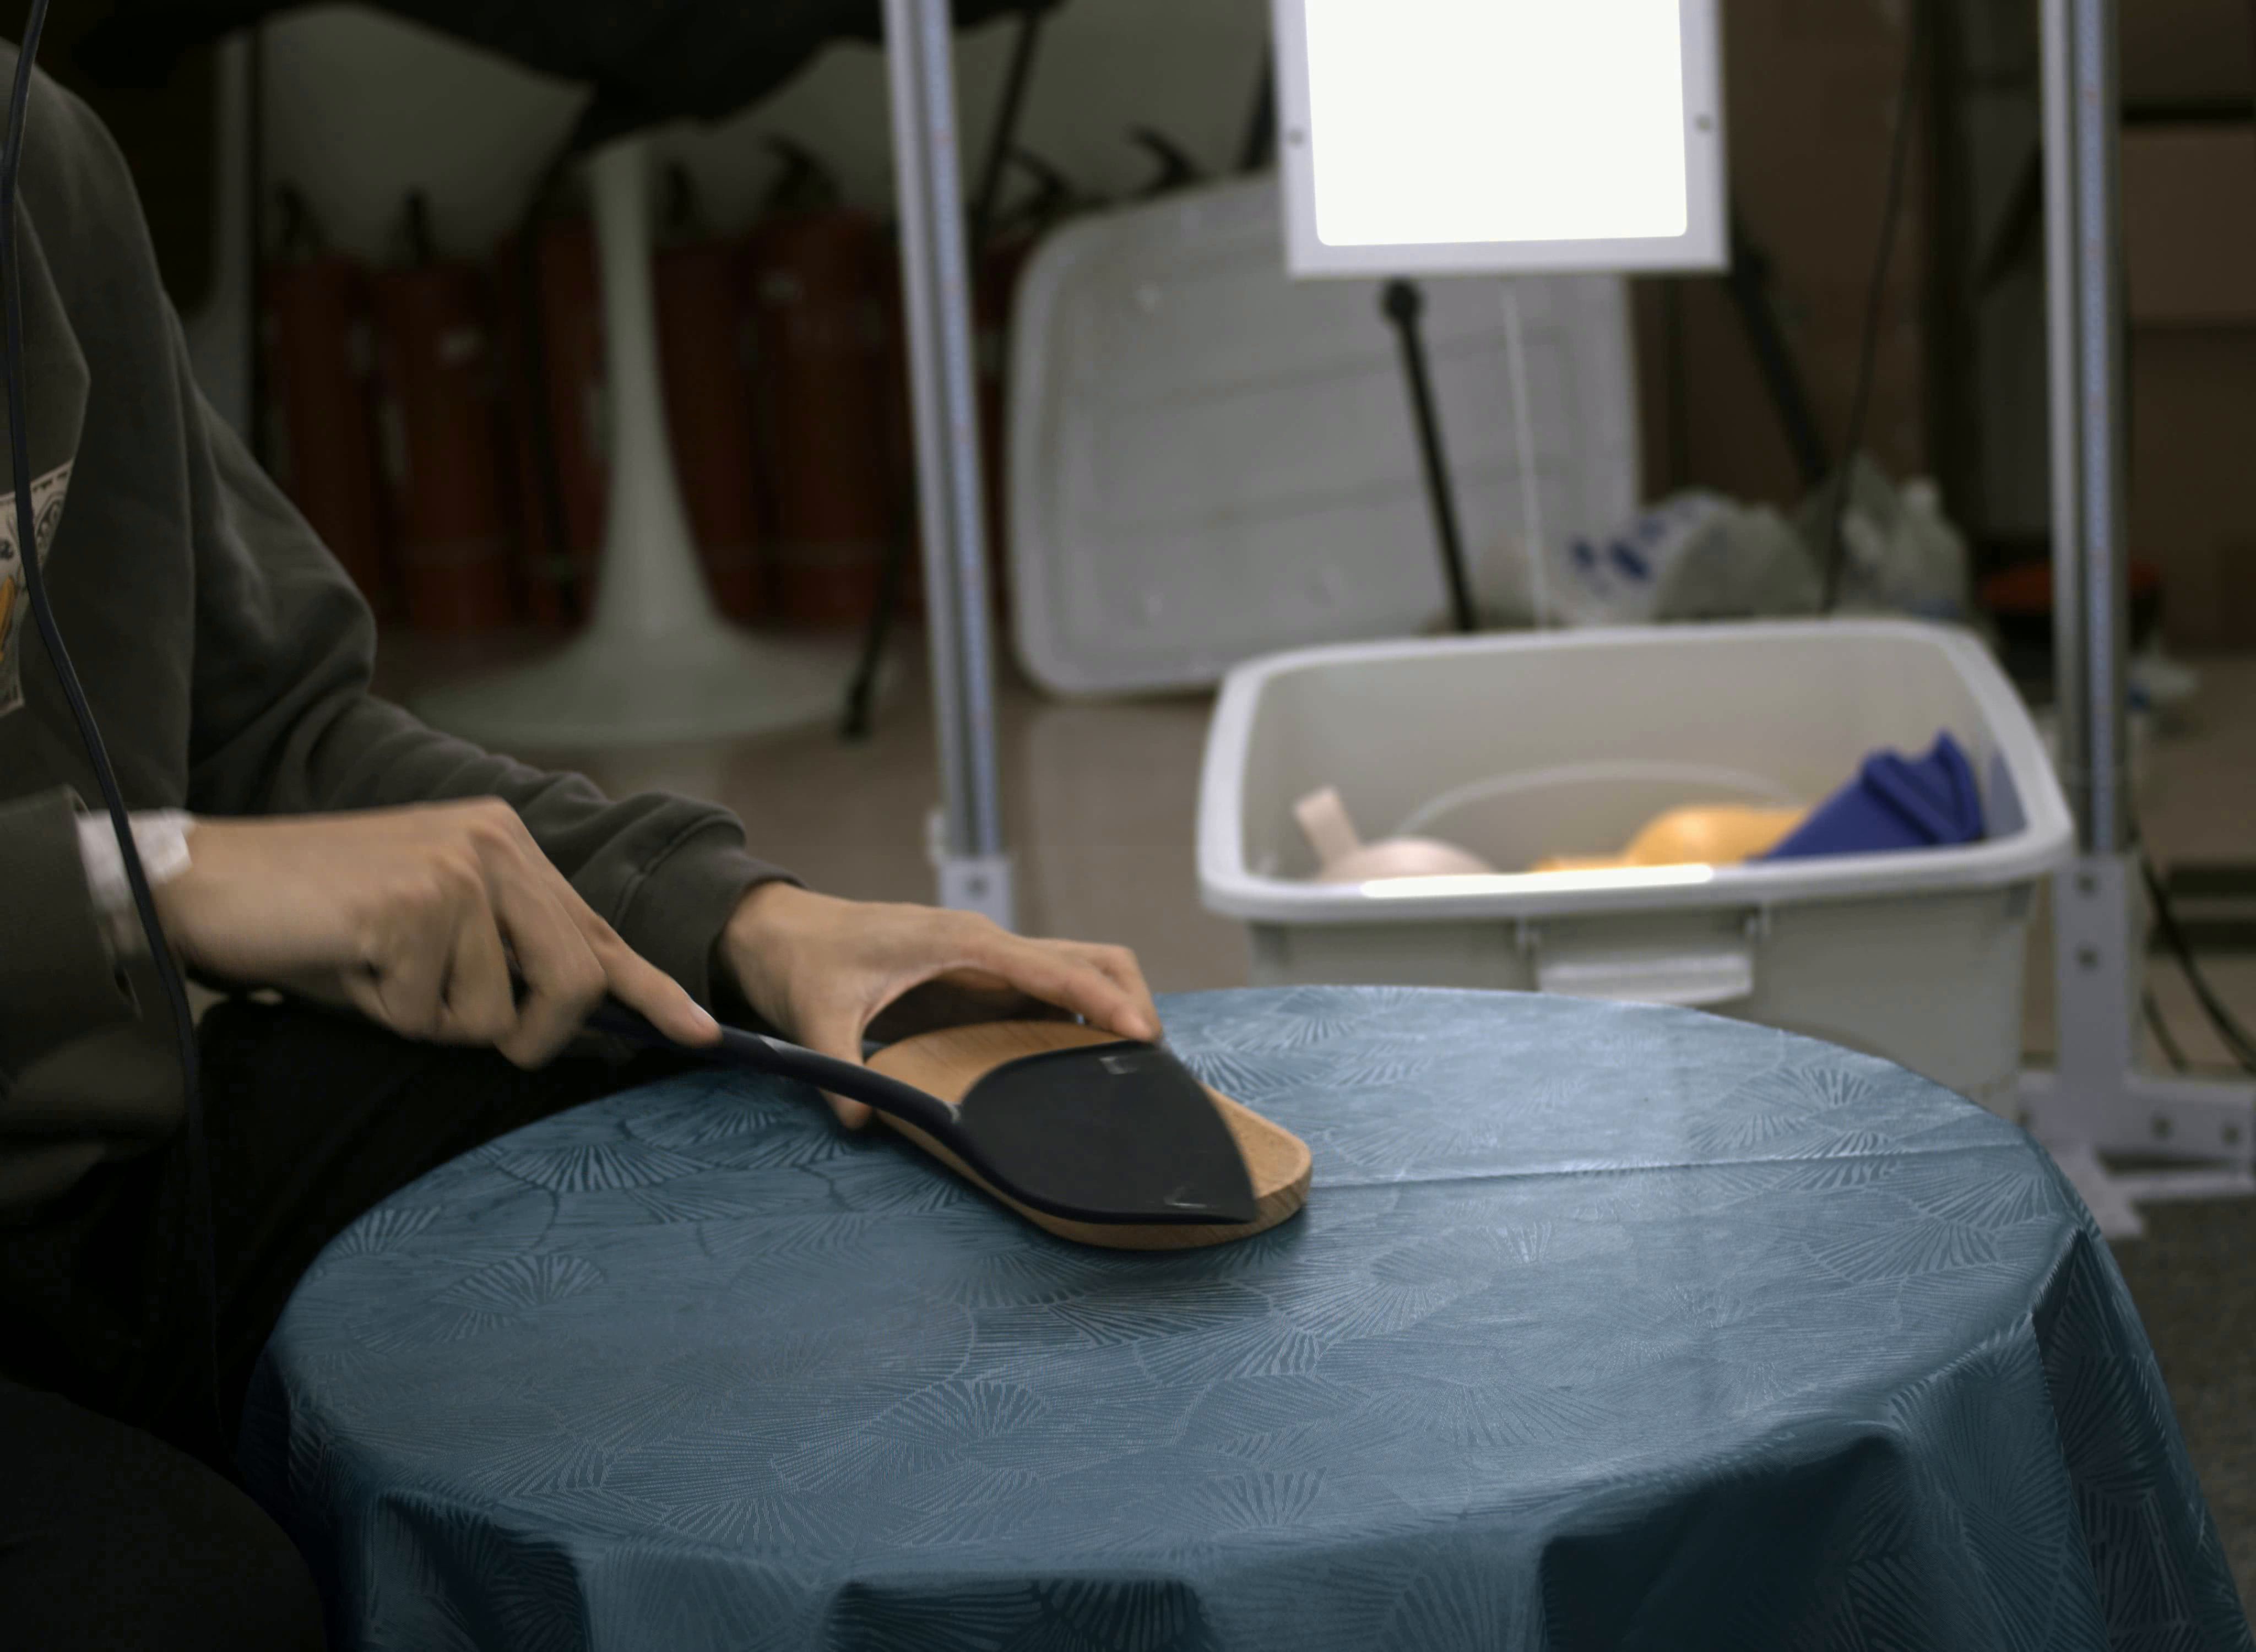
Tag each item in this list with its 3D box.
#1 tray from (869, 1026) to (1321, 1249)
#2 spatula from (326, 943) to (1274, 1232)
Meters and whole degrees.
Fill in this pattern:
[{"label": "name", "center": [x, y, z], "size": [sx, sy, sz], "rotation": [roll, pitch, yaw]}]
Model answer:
[{"label": "tray", "center": [-0.014, 0.108, 1.931], "size": [0.099, 0.020, 0.235], "rotation": [-11, 18, -24]}, {"label": "spatula", "center": [-0.102, 0.073, 1.739], "size": [0.319, 0.041, 0.100], "rotation": [19, 24, -29]}]
